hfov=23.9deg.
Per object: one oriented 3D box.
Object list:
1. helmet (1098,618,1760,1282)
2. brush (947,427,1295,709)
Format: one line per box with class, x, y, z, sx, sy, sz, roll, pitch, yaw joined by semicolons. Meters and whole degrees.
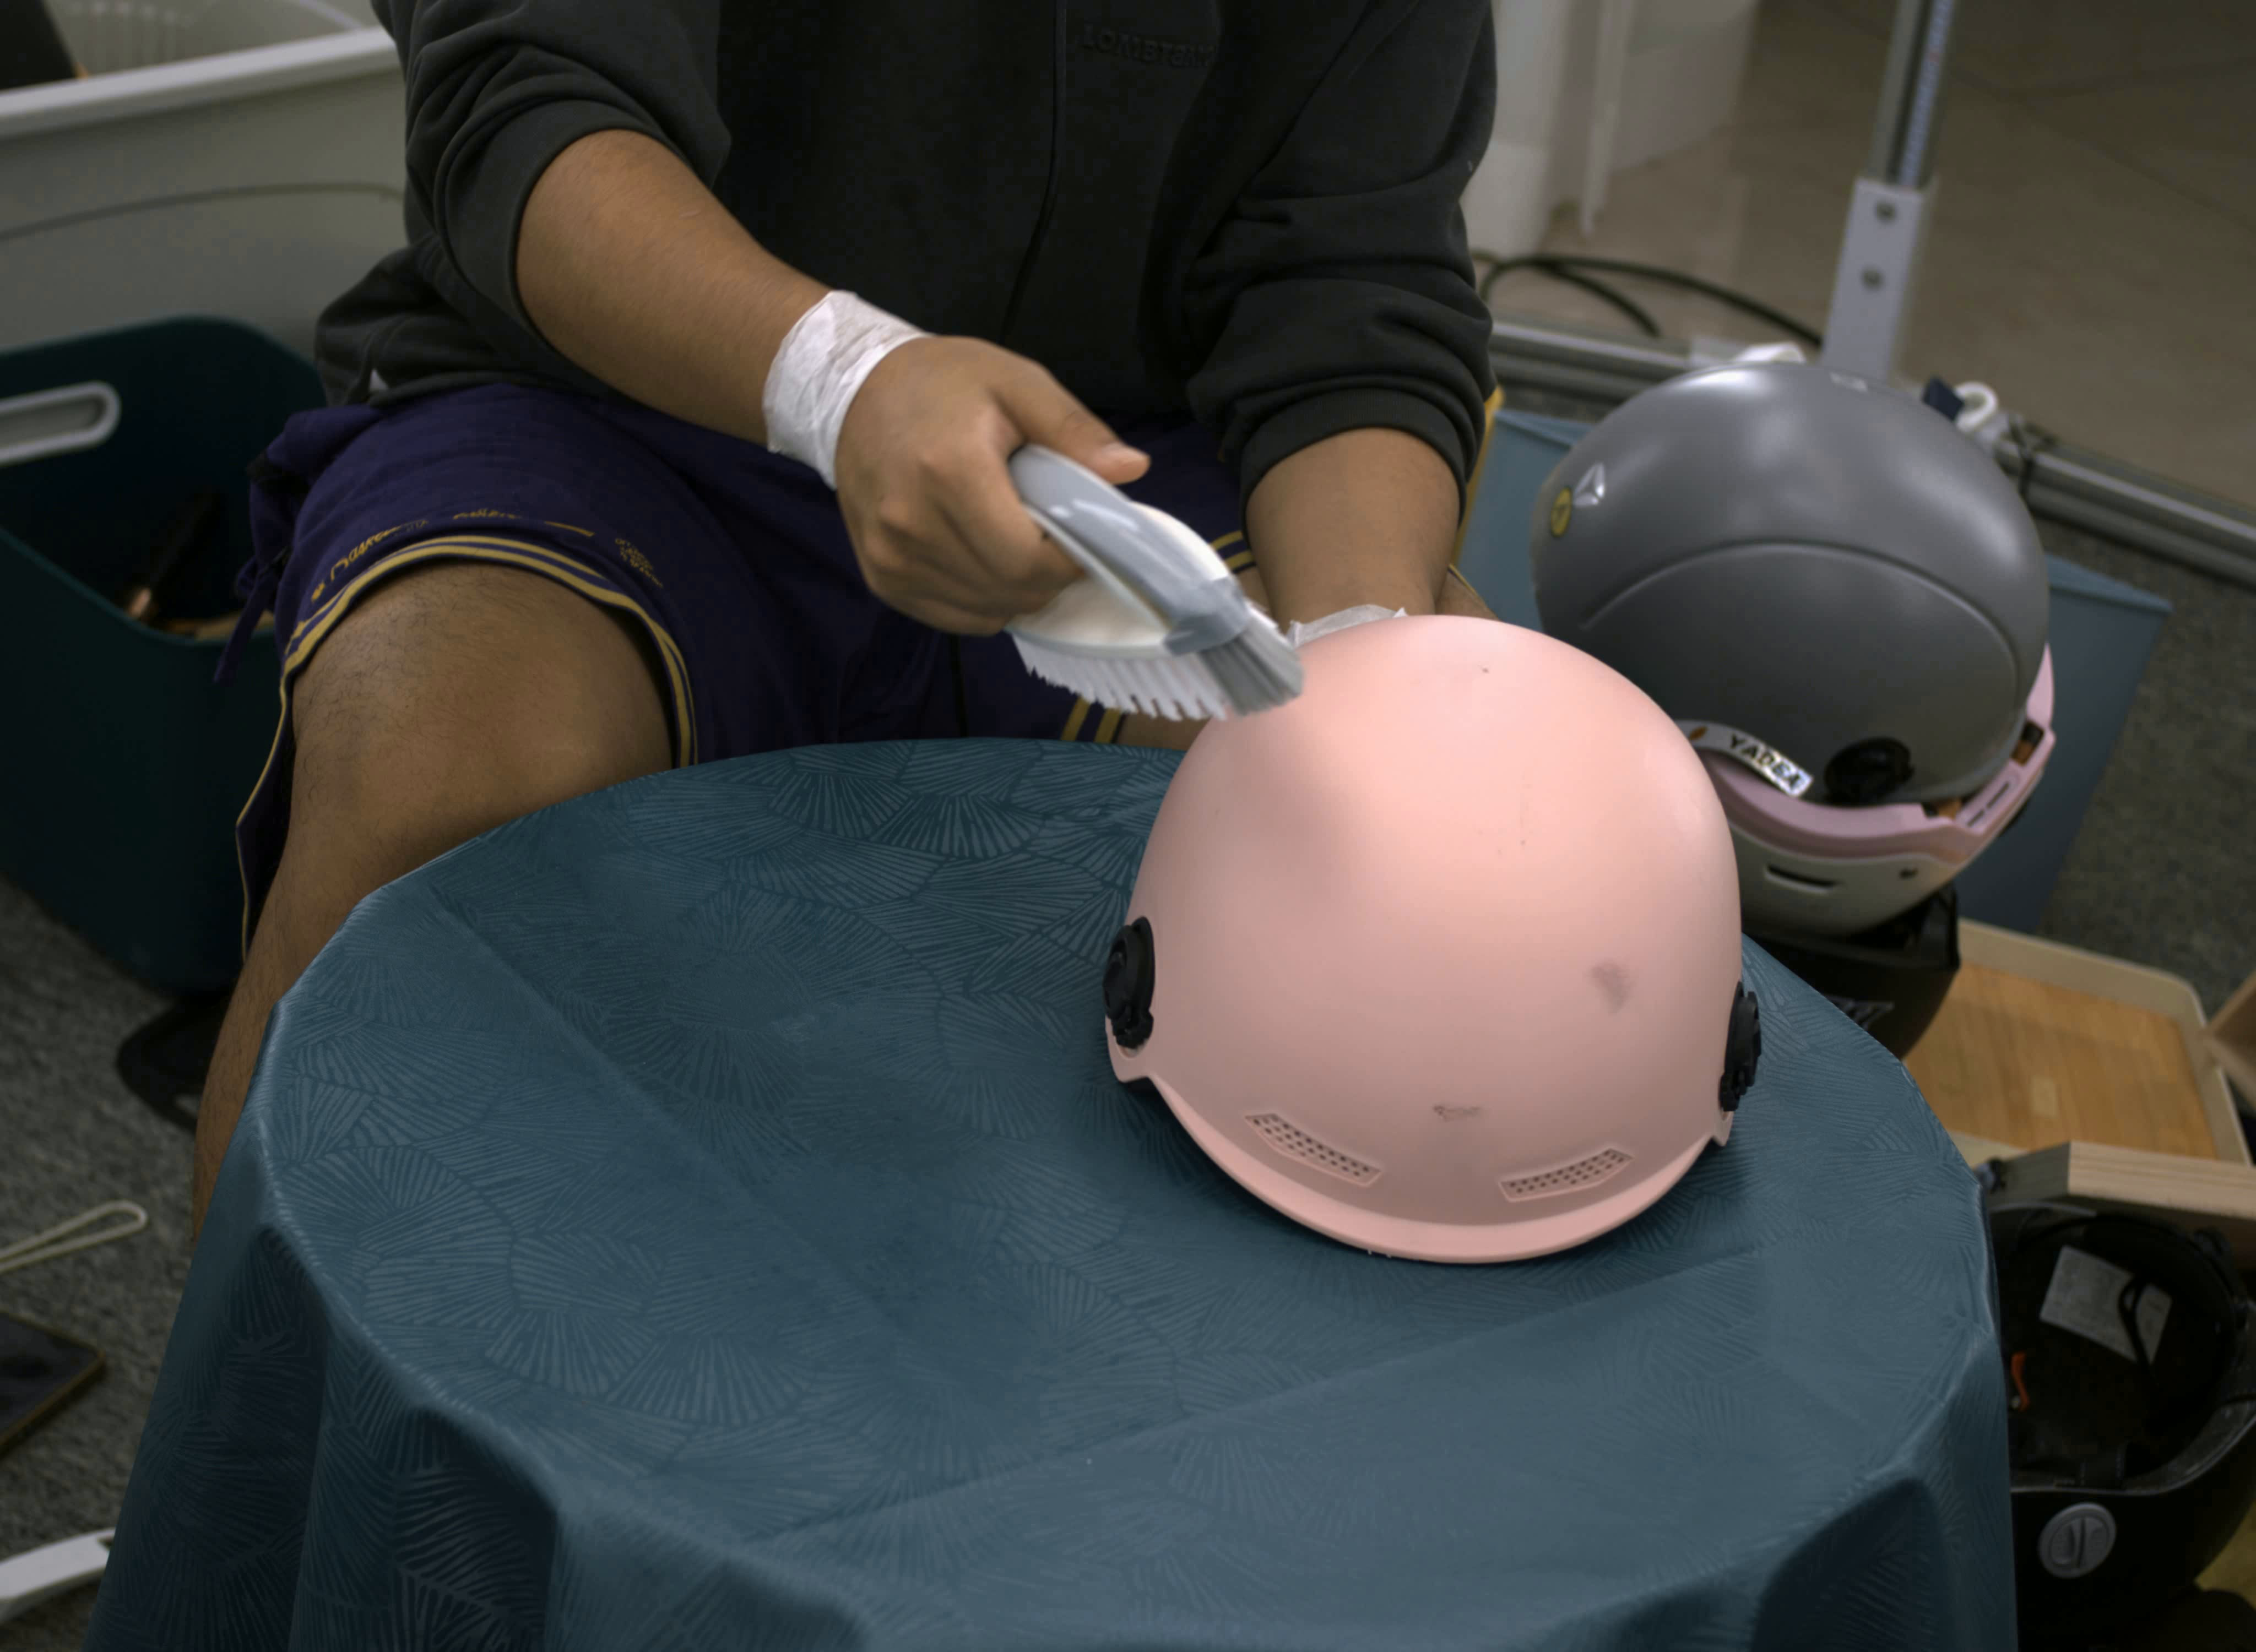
helmet;0.111;0.023;1.856;0.233;0.158;0.268;6;33;-3
brush;-0.007;-0.090;1.769;0.061;0.093;0.177;-46;27;-7
